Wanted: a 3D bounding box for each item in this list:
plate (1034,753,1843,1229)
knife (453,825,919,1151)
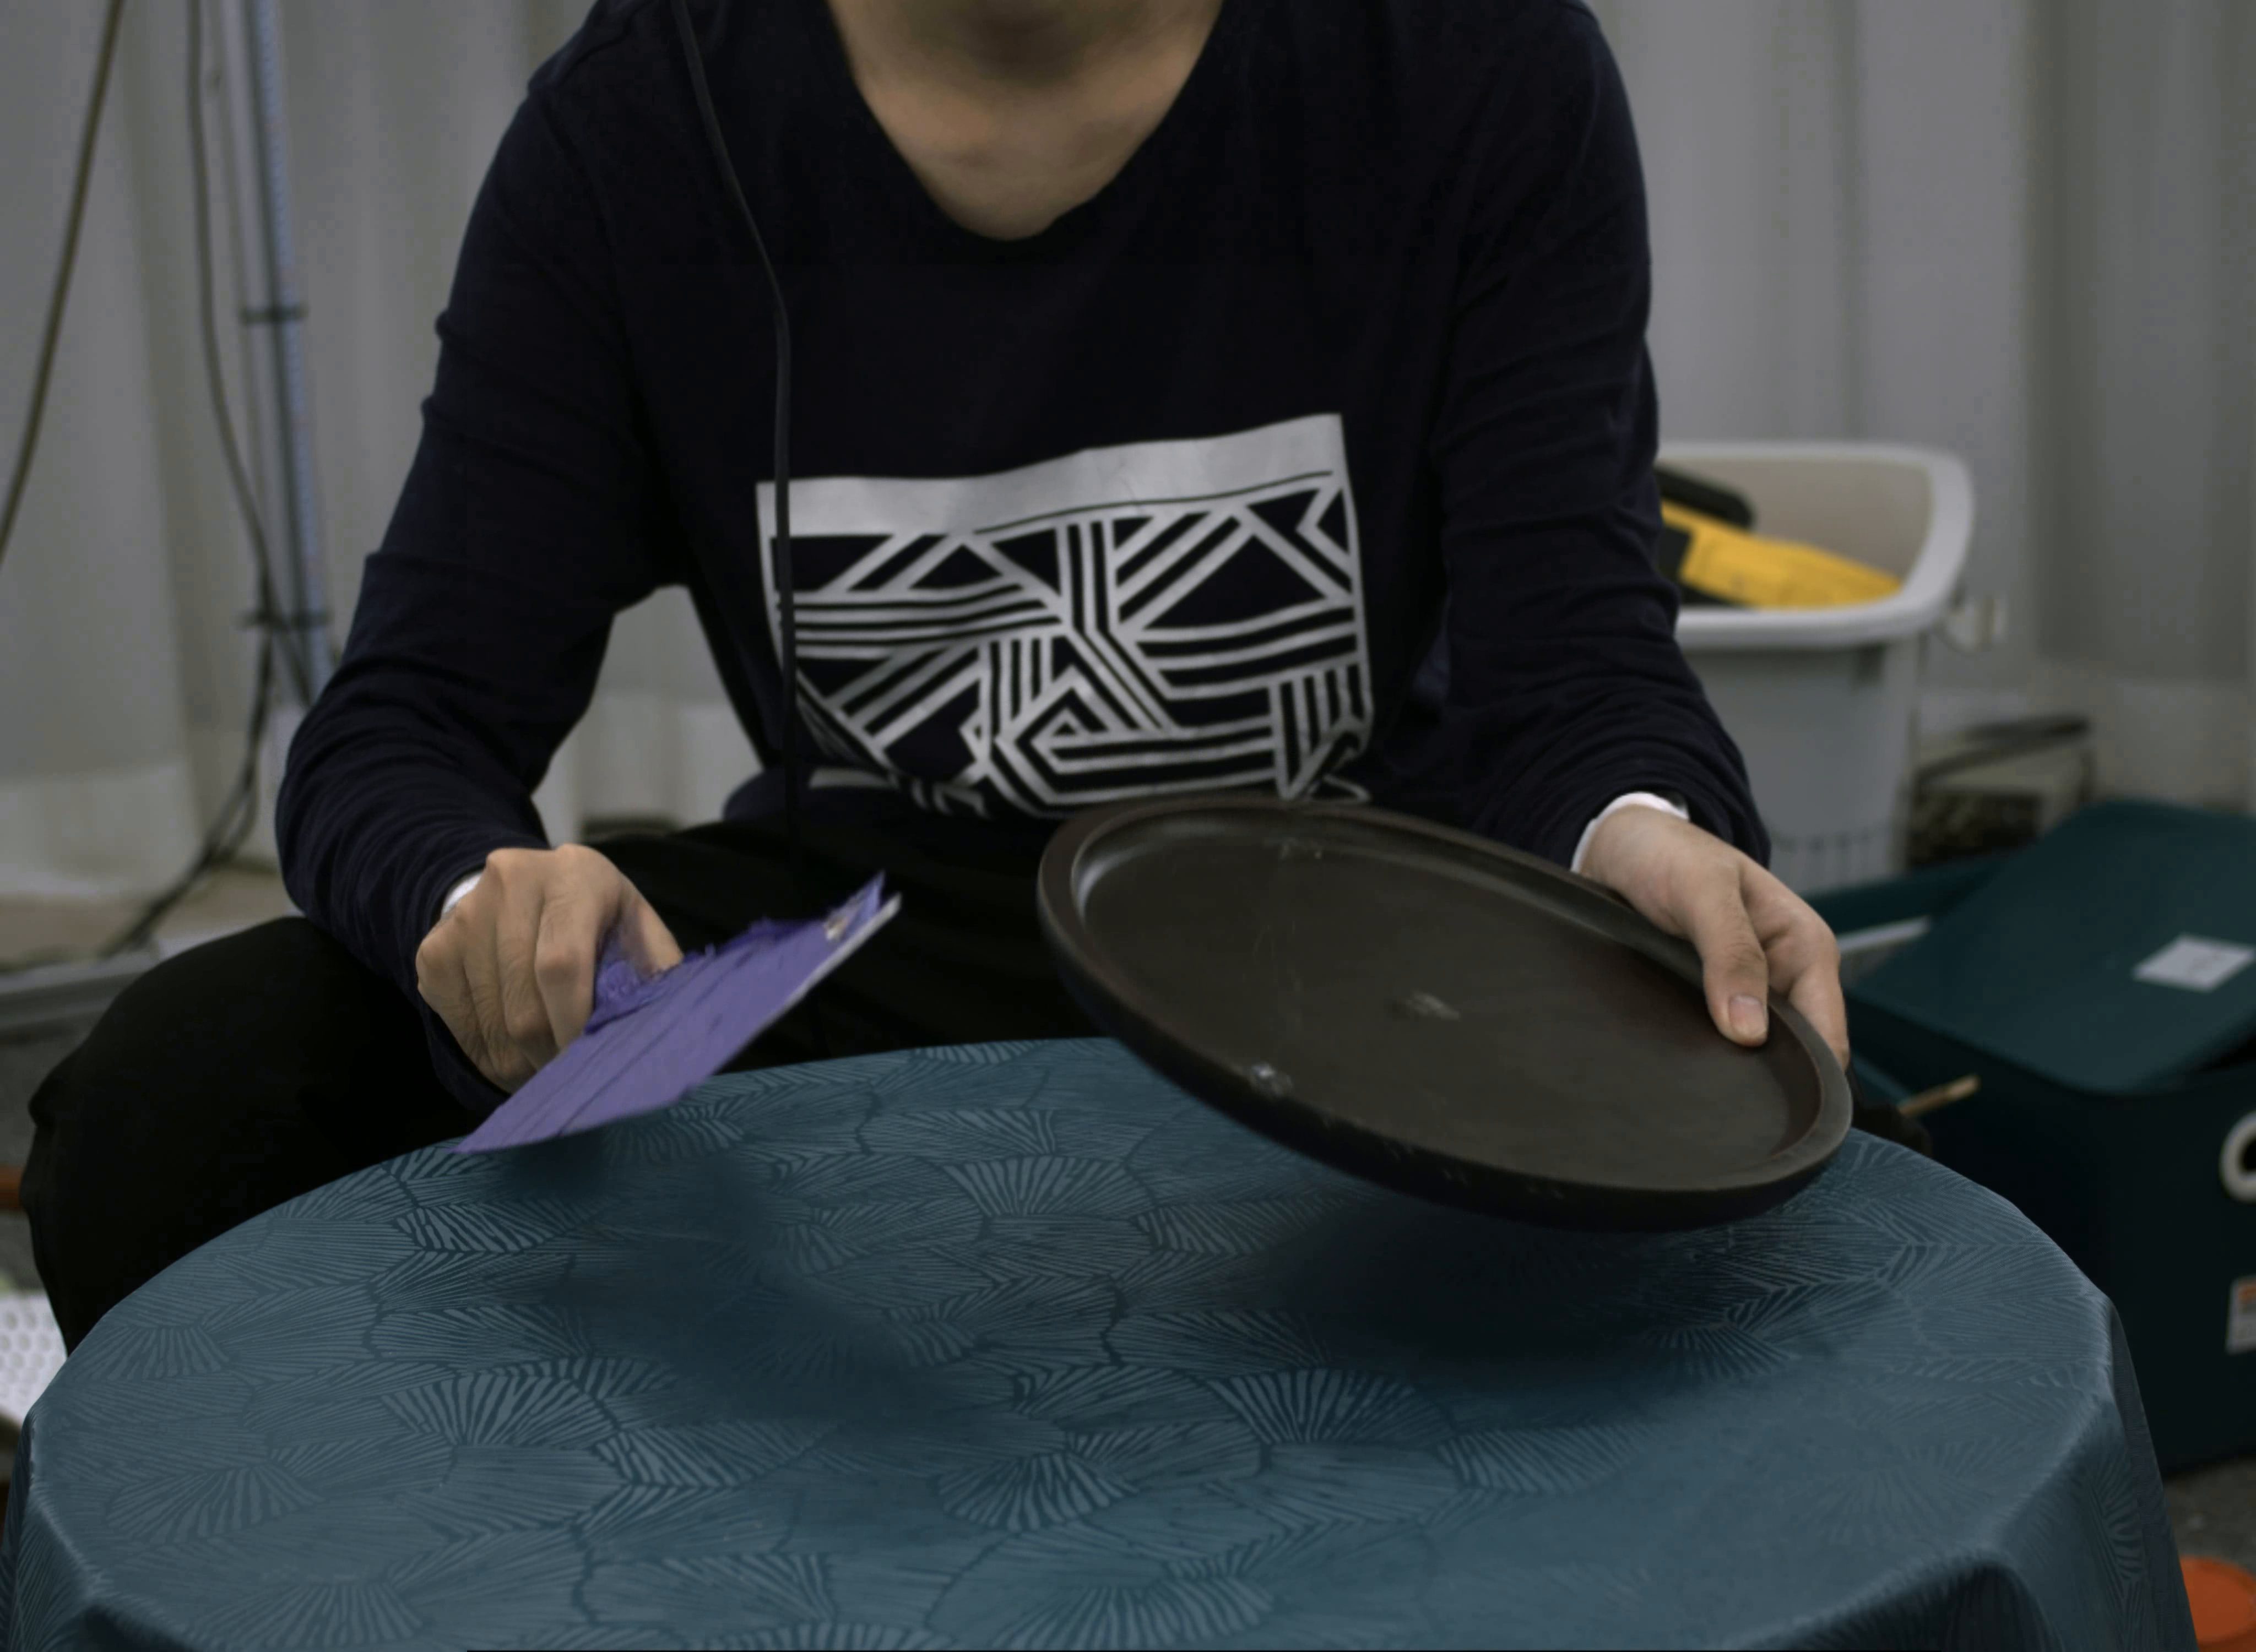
[{"bbox_3d":[0.091,0.050,1.625,0.253,0.029,0.257,16,22,-7],"label":"plate"},{"bbox_3d":[-0.157,0.059,1.644,0.104,0.032,0.314,-43,8,-26],"label":"knife"}]
